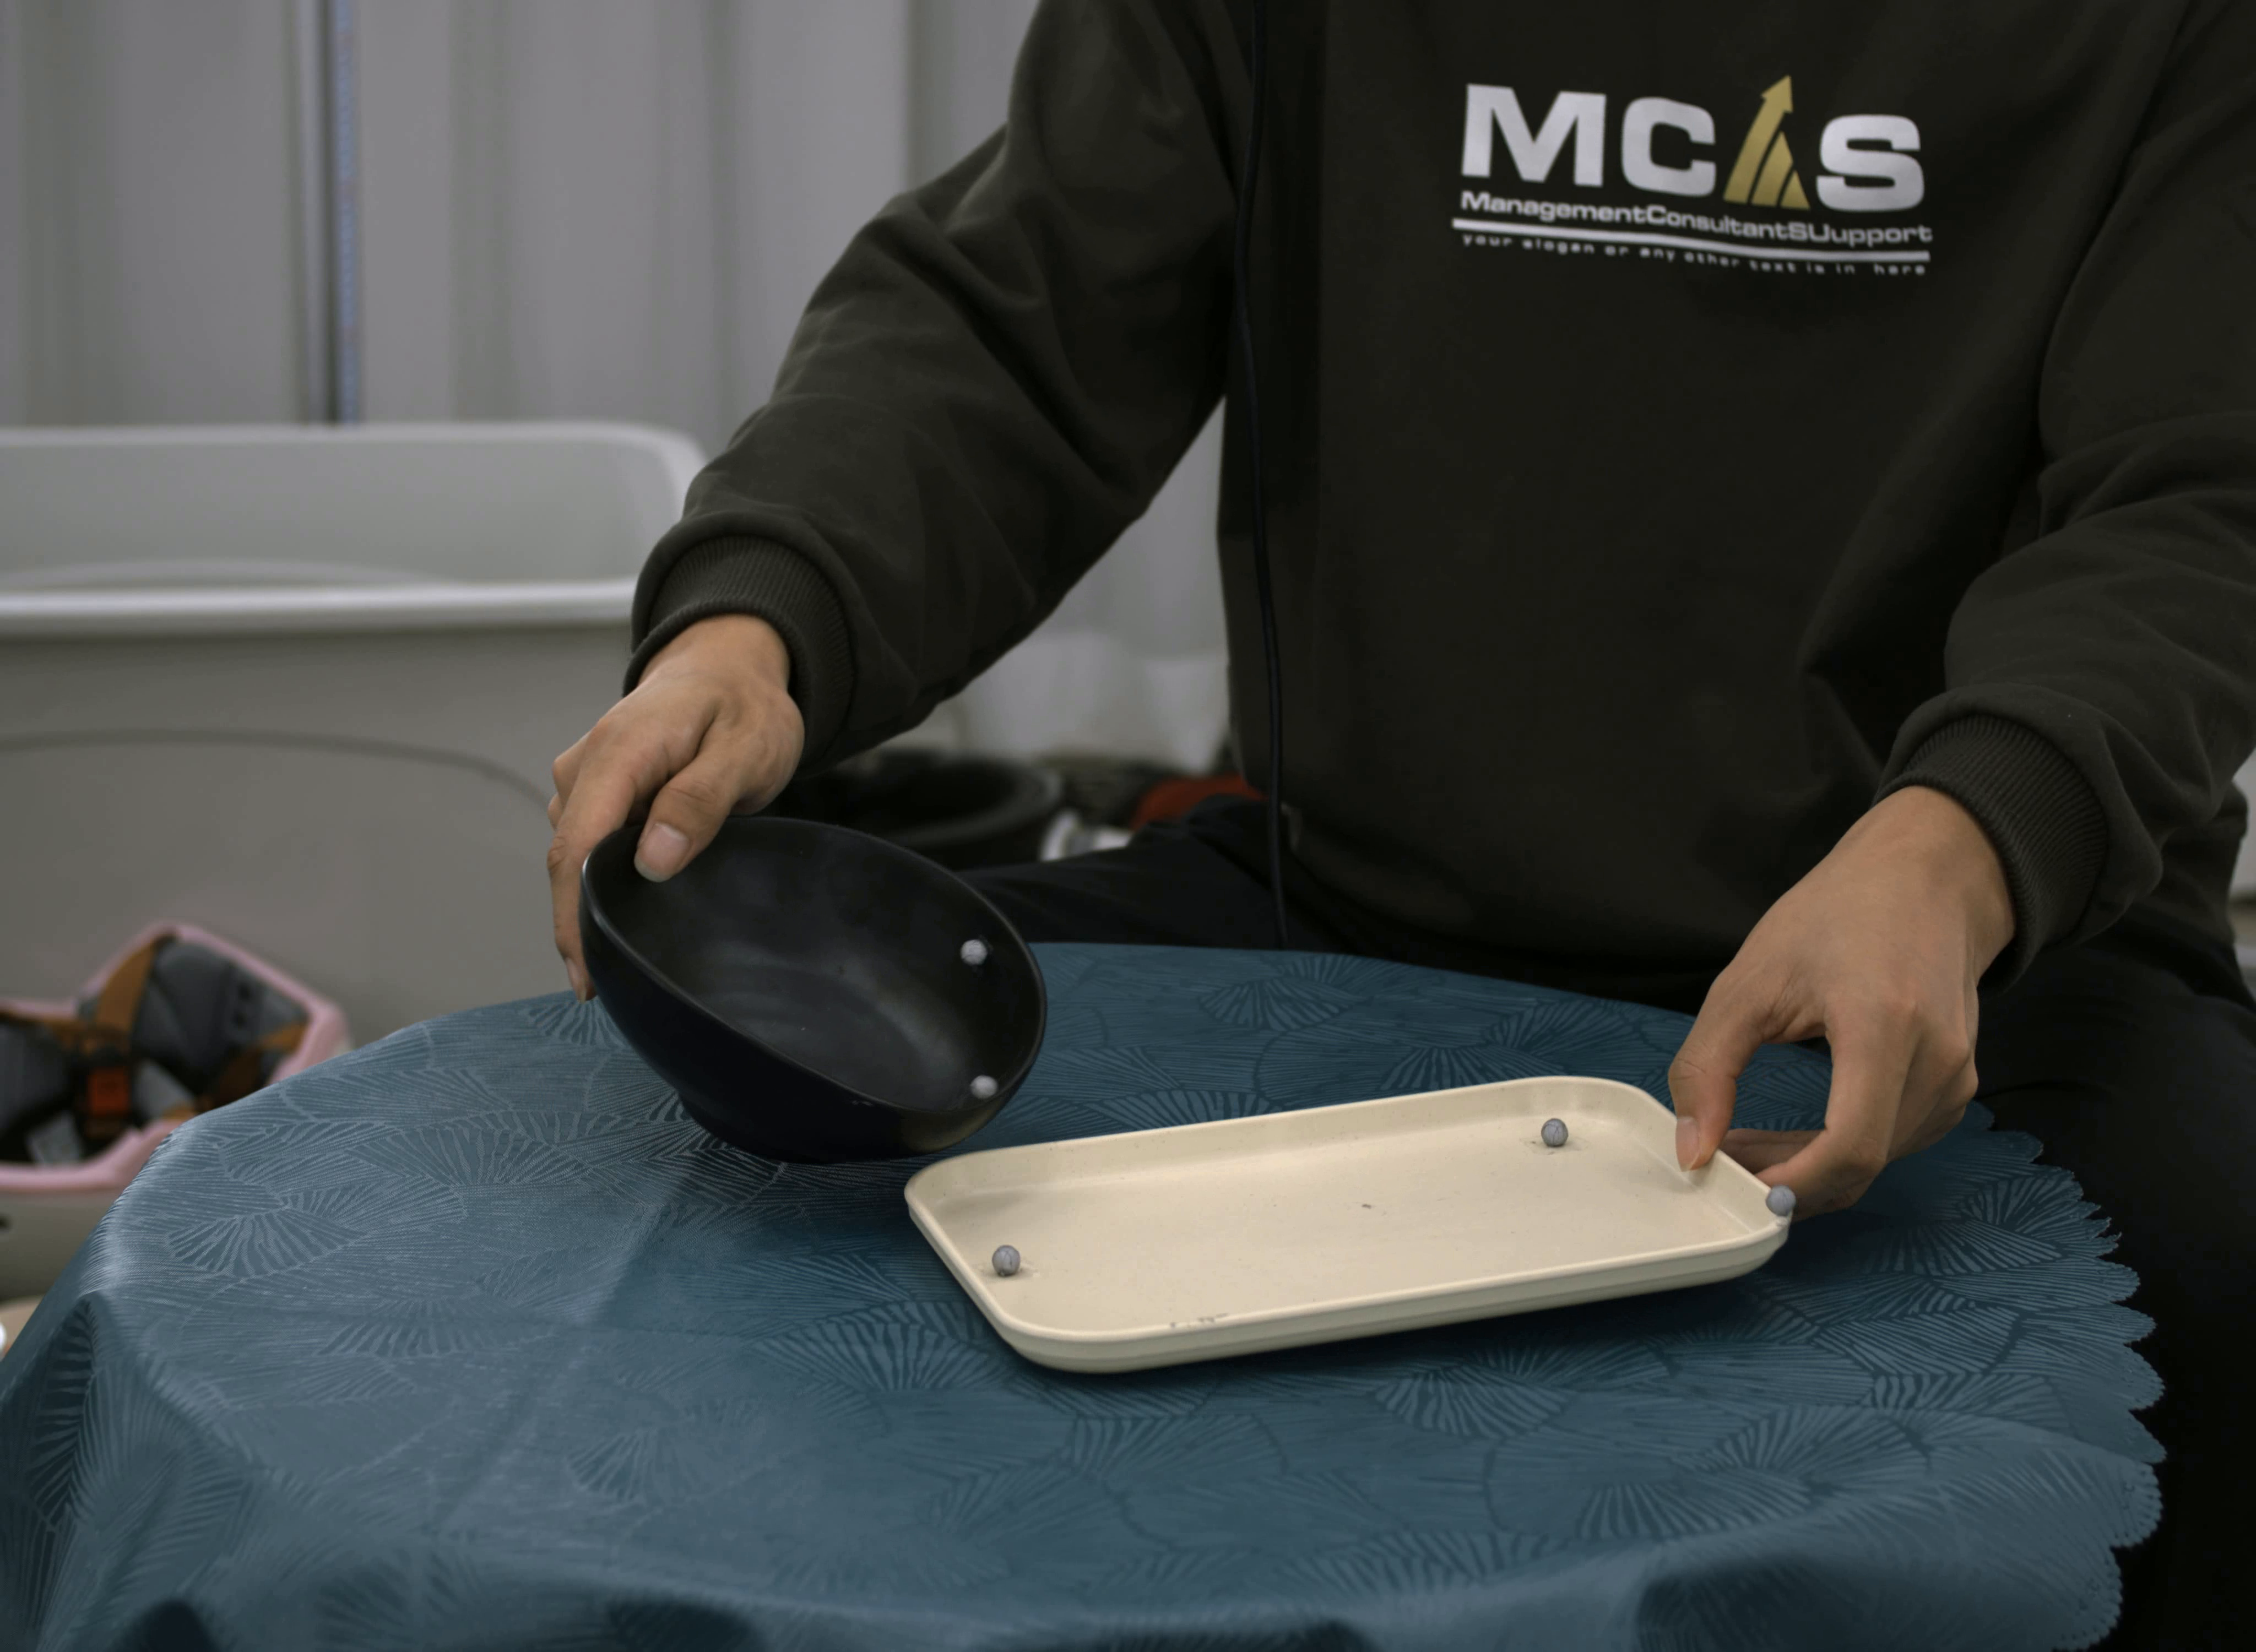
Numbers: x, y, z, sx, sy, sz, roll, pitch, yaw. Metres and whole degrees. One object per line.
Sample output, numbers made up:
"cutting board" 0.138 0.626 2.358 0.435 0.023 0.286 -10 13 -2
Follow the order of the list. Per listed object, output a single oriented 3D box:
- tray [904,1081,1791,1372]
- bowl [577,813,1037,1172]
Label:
"tray" 0.063 0.118 1.561 0.240 0.017 0.169 -7 15 -16
"bowl" -0.103 0.061 1.645 0.138 0.067 0.168 -10 38 -40
